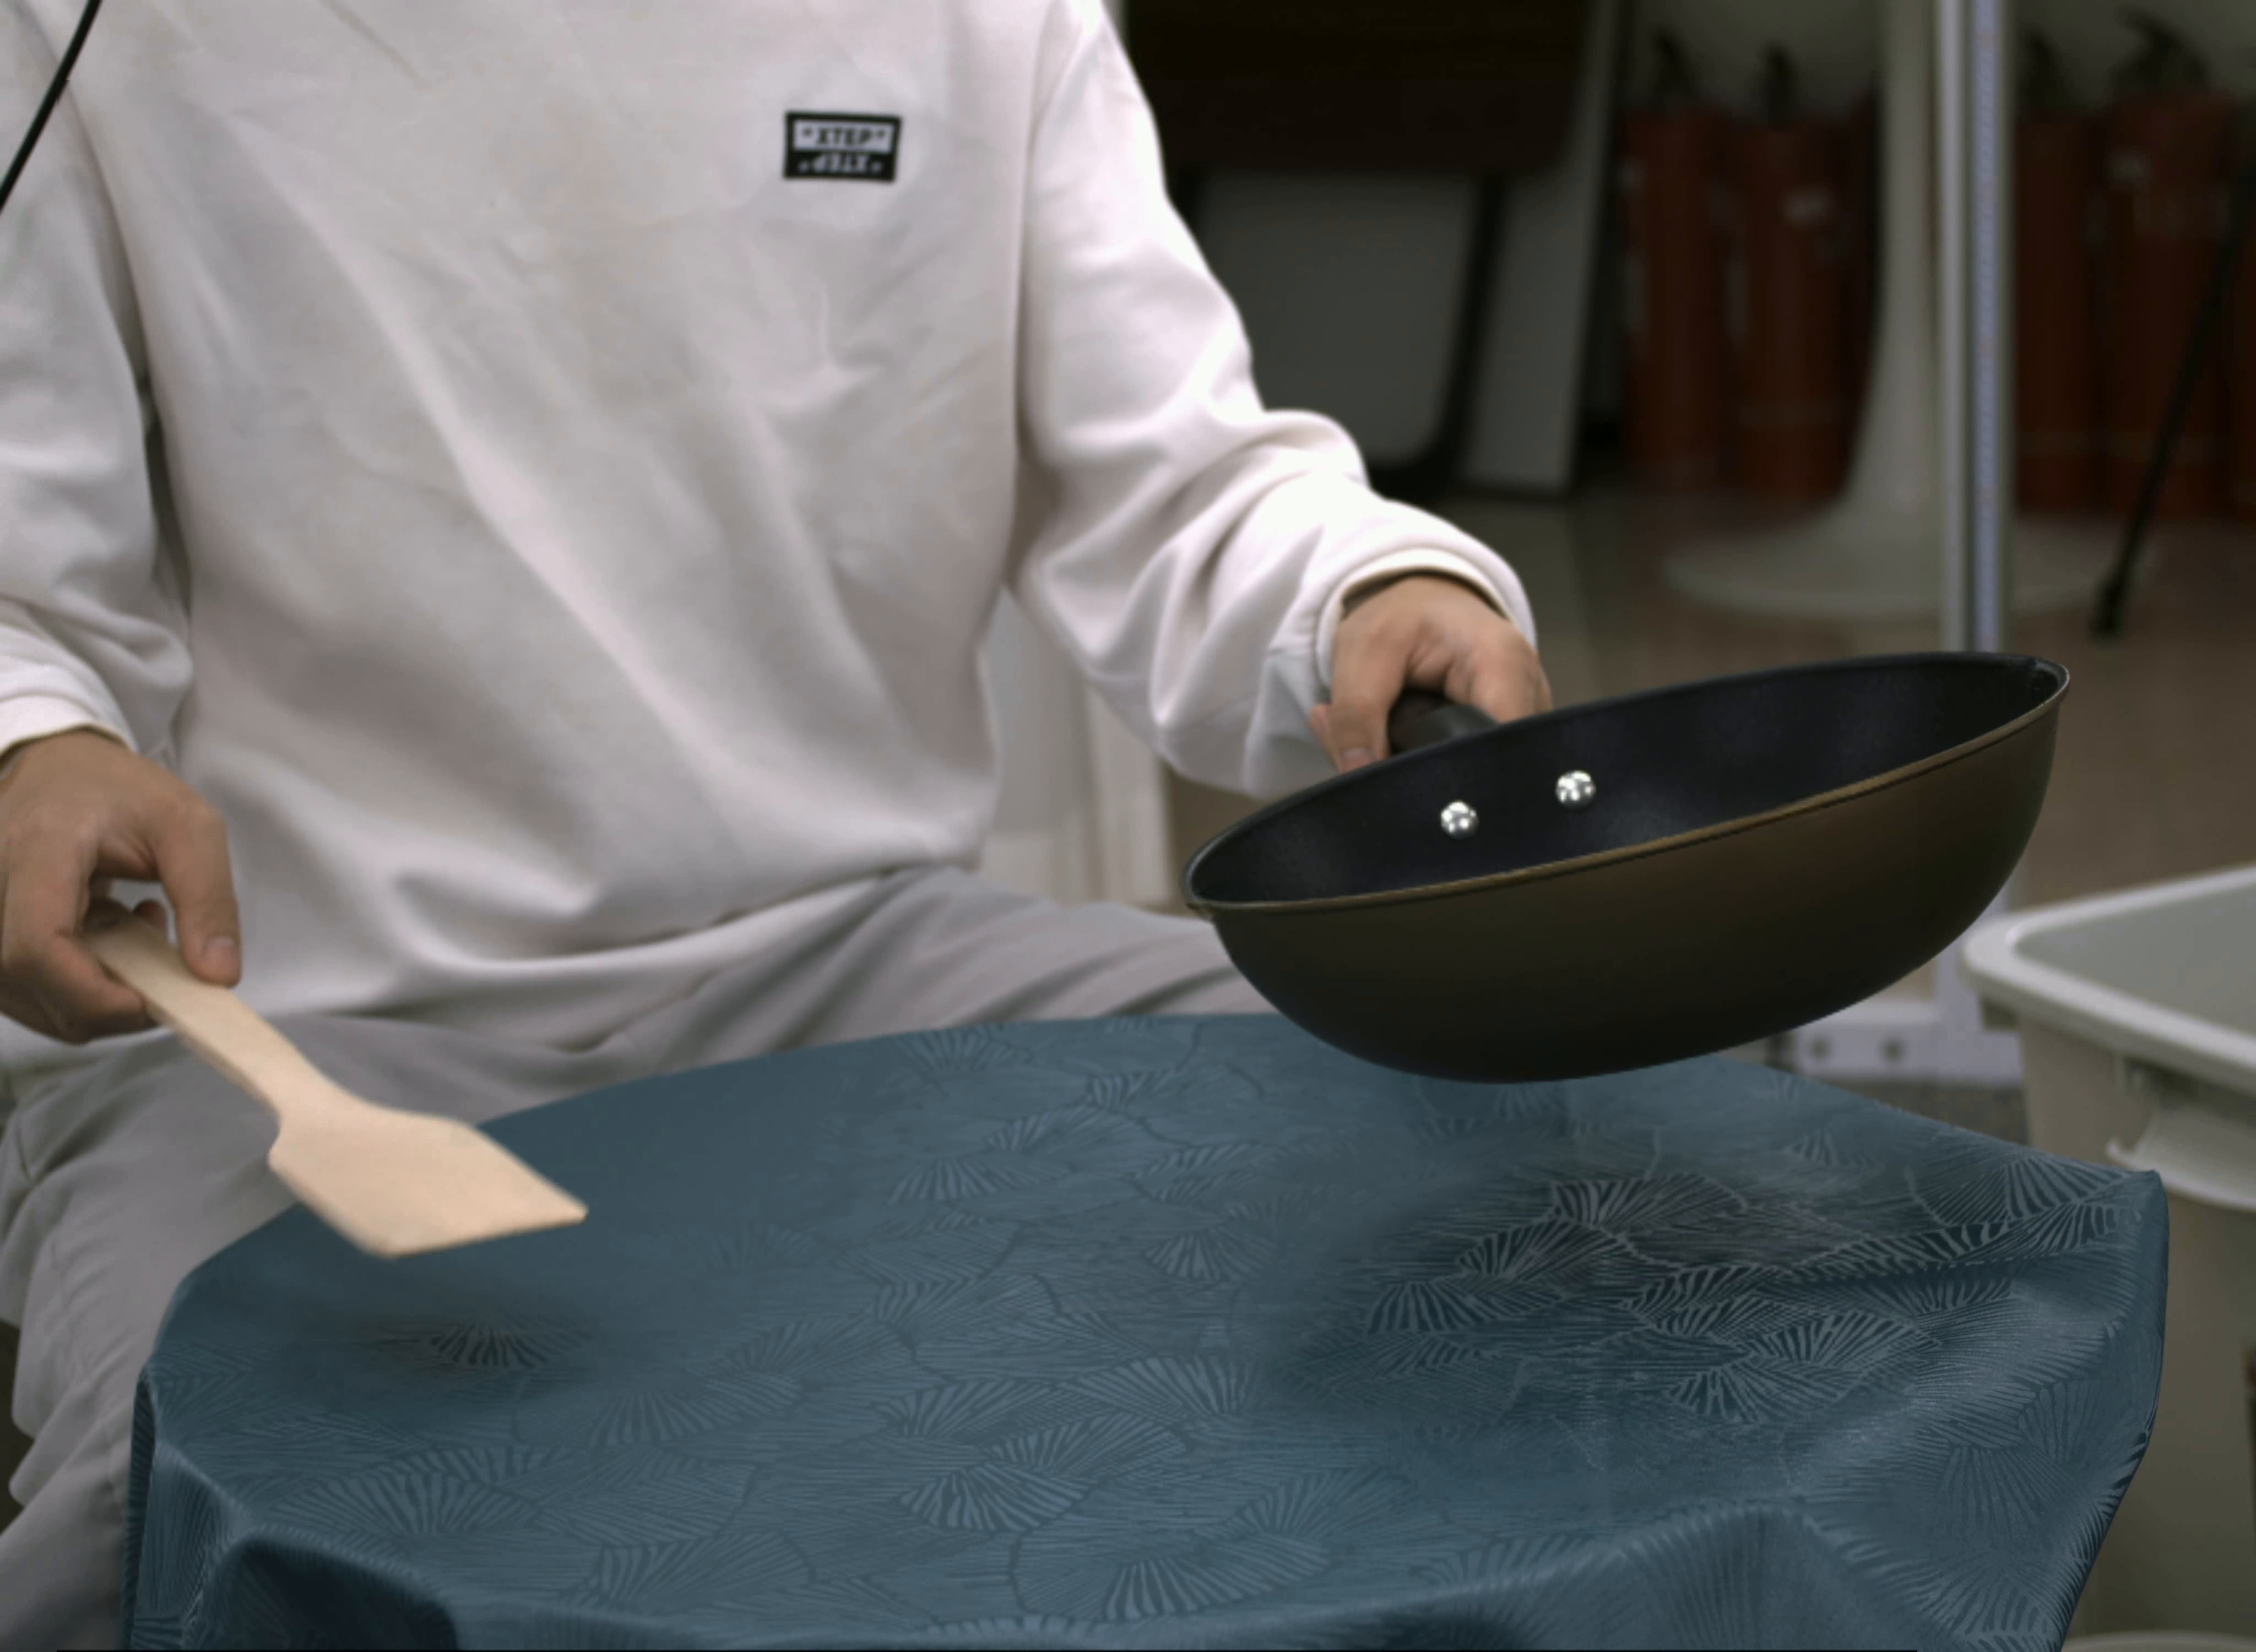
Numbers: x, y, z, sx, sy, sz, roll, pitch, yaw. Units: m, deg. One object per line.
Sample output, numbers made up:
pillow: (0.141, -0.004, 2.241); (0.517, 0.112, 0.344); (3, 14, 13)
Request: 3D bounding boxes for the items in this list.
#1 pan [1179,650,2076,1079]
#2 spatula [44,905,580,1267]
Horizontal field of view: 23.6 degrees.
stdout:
pan: (0.141, 0.010, 1.751); (0.283, 0.088, 0.466); (-15, 7, -10)
spatula: (-0.276, 0.080, 1.735); (0.070, 0.011, 0.296); (-9, 25, -34)
